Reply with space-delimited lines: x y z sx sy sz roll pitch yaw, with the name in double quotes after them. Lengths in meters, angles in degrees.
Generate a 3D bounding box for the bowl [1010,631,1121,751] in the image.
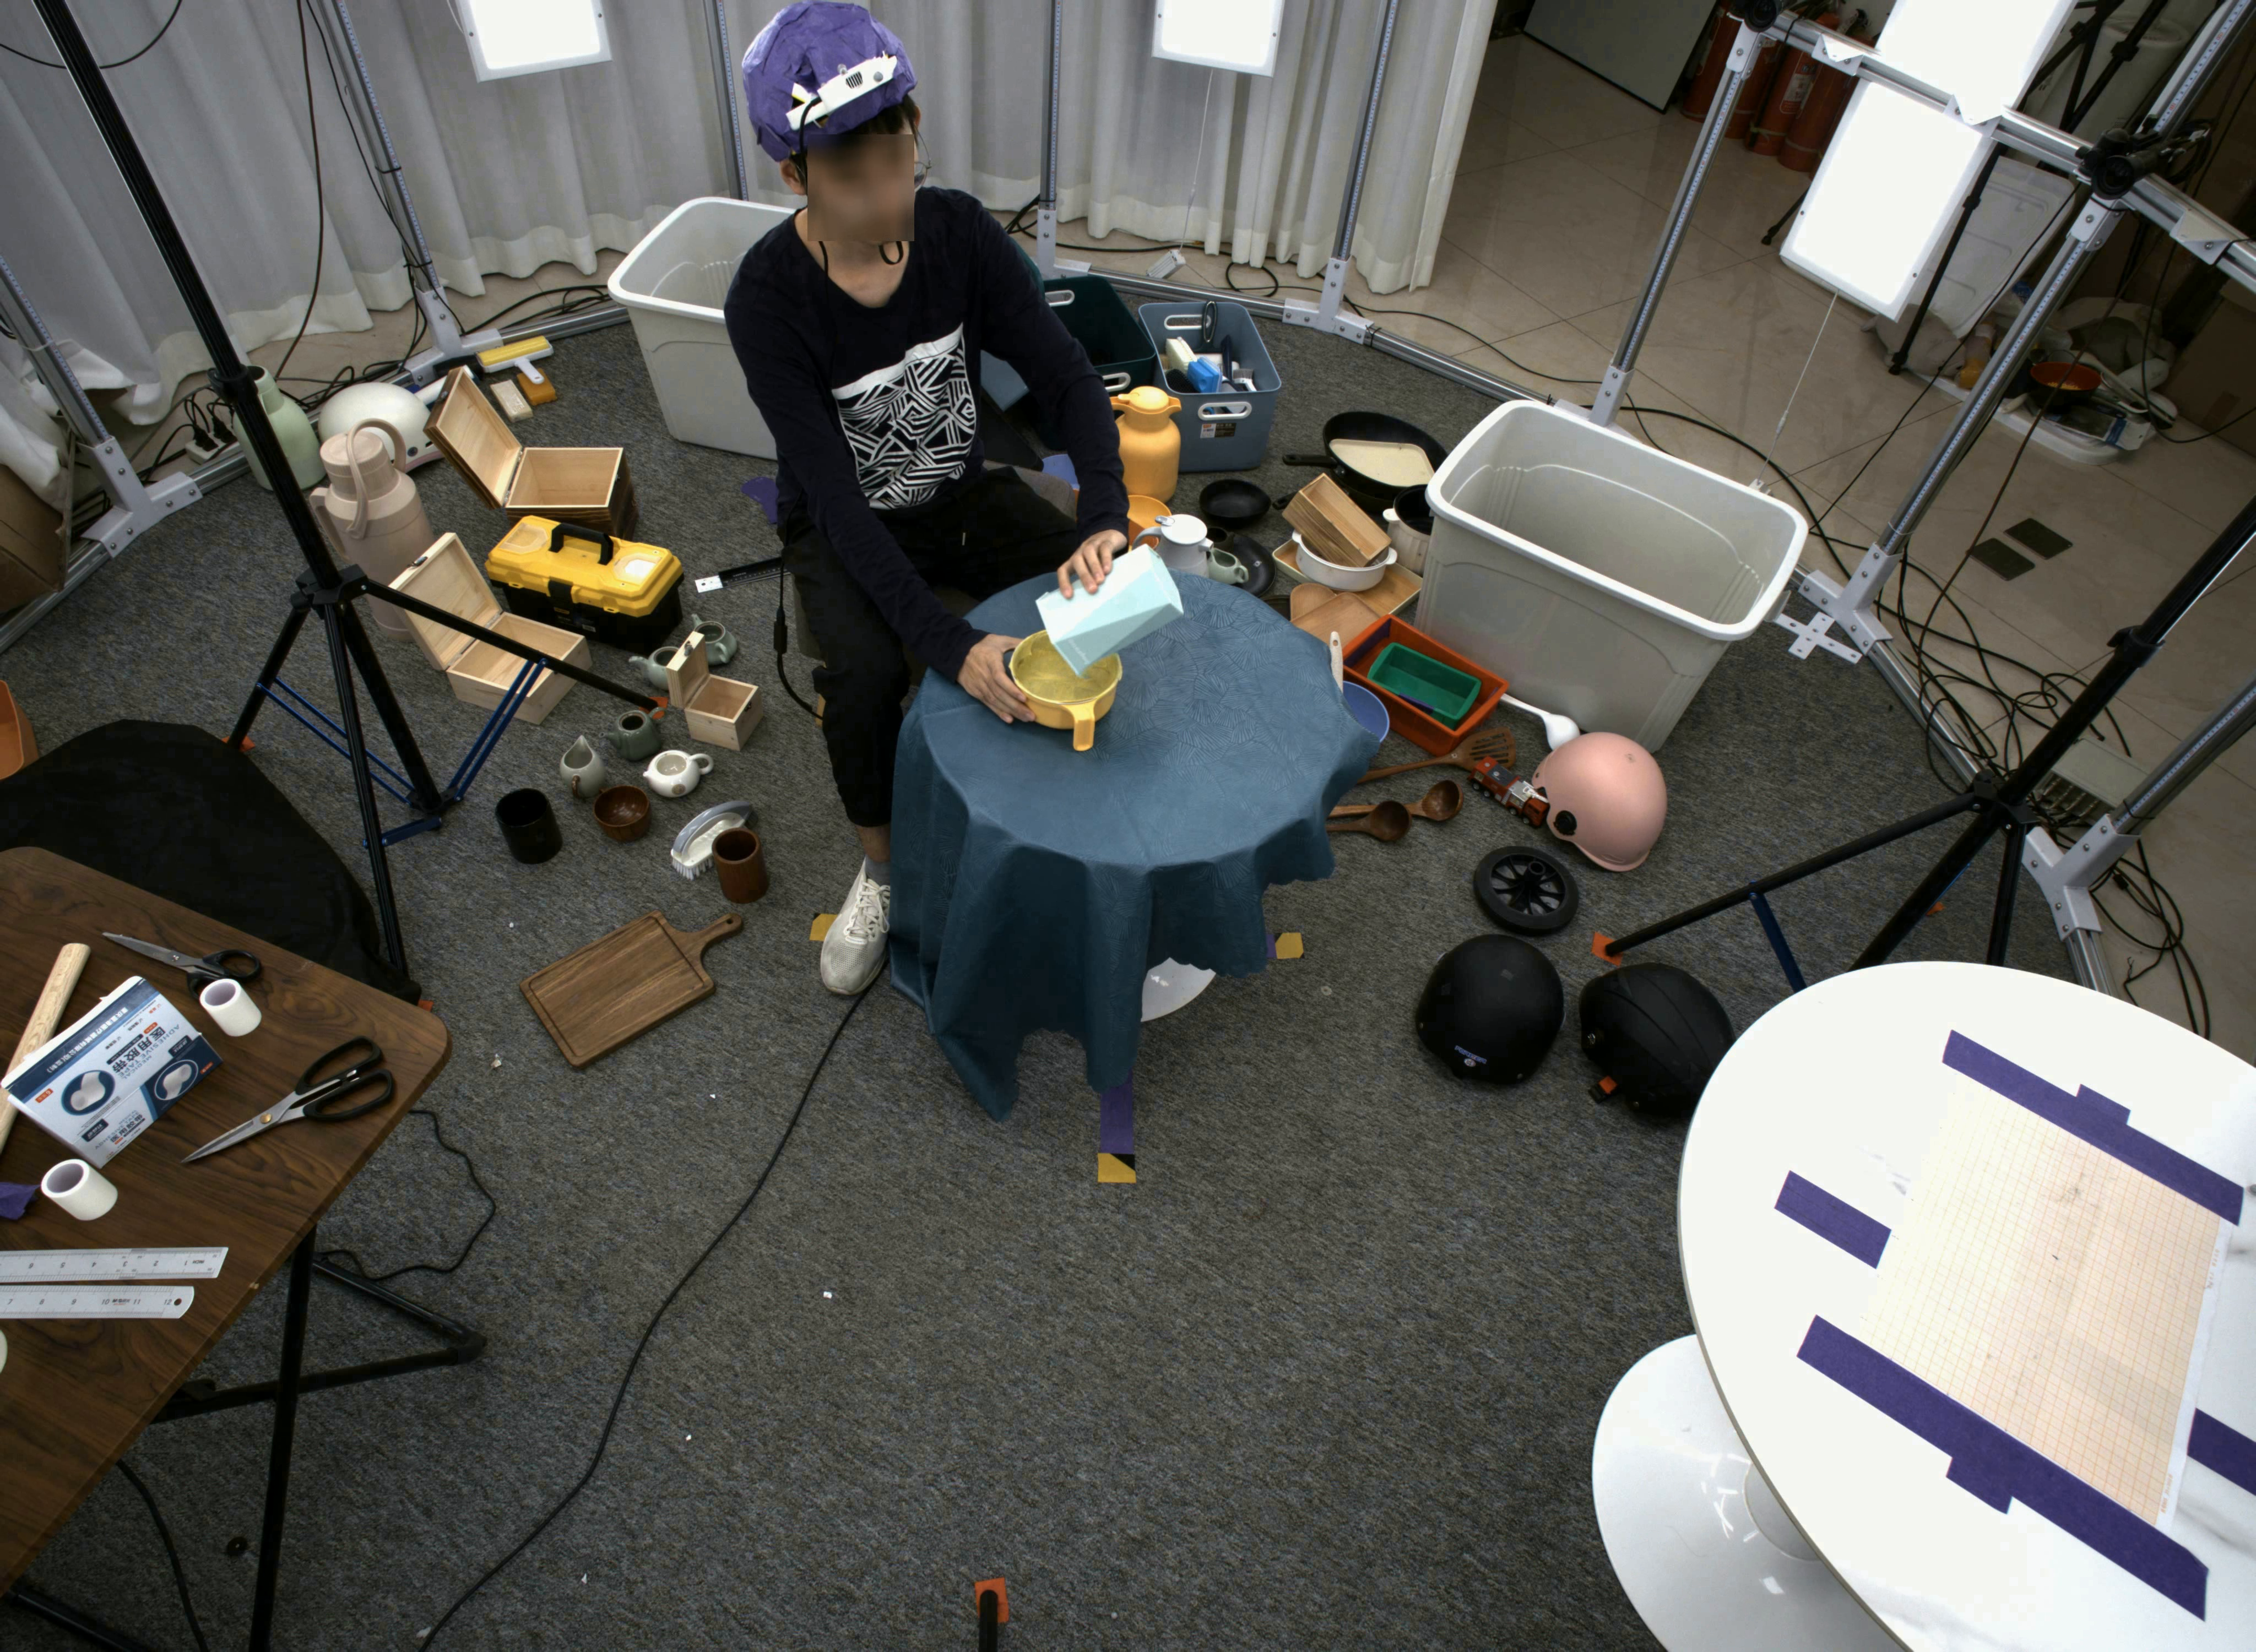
-0.084 -0.190 1.785 0.153 0.072 0.183 -13 49 -15 "bowl"

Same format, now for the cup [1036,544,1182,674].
-0.022 -0.294 1.718 0.162 0.128 0.118 -24 40 16 "cup"
